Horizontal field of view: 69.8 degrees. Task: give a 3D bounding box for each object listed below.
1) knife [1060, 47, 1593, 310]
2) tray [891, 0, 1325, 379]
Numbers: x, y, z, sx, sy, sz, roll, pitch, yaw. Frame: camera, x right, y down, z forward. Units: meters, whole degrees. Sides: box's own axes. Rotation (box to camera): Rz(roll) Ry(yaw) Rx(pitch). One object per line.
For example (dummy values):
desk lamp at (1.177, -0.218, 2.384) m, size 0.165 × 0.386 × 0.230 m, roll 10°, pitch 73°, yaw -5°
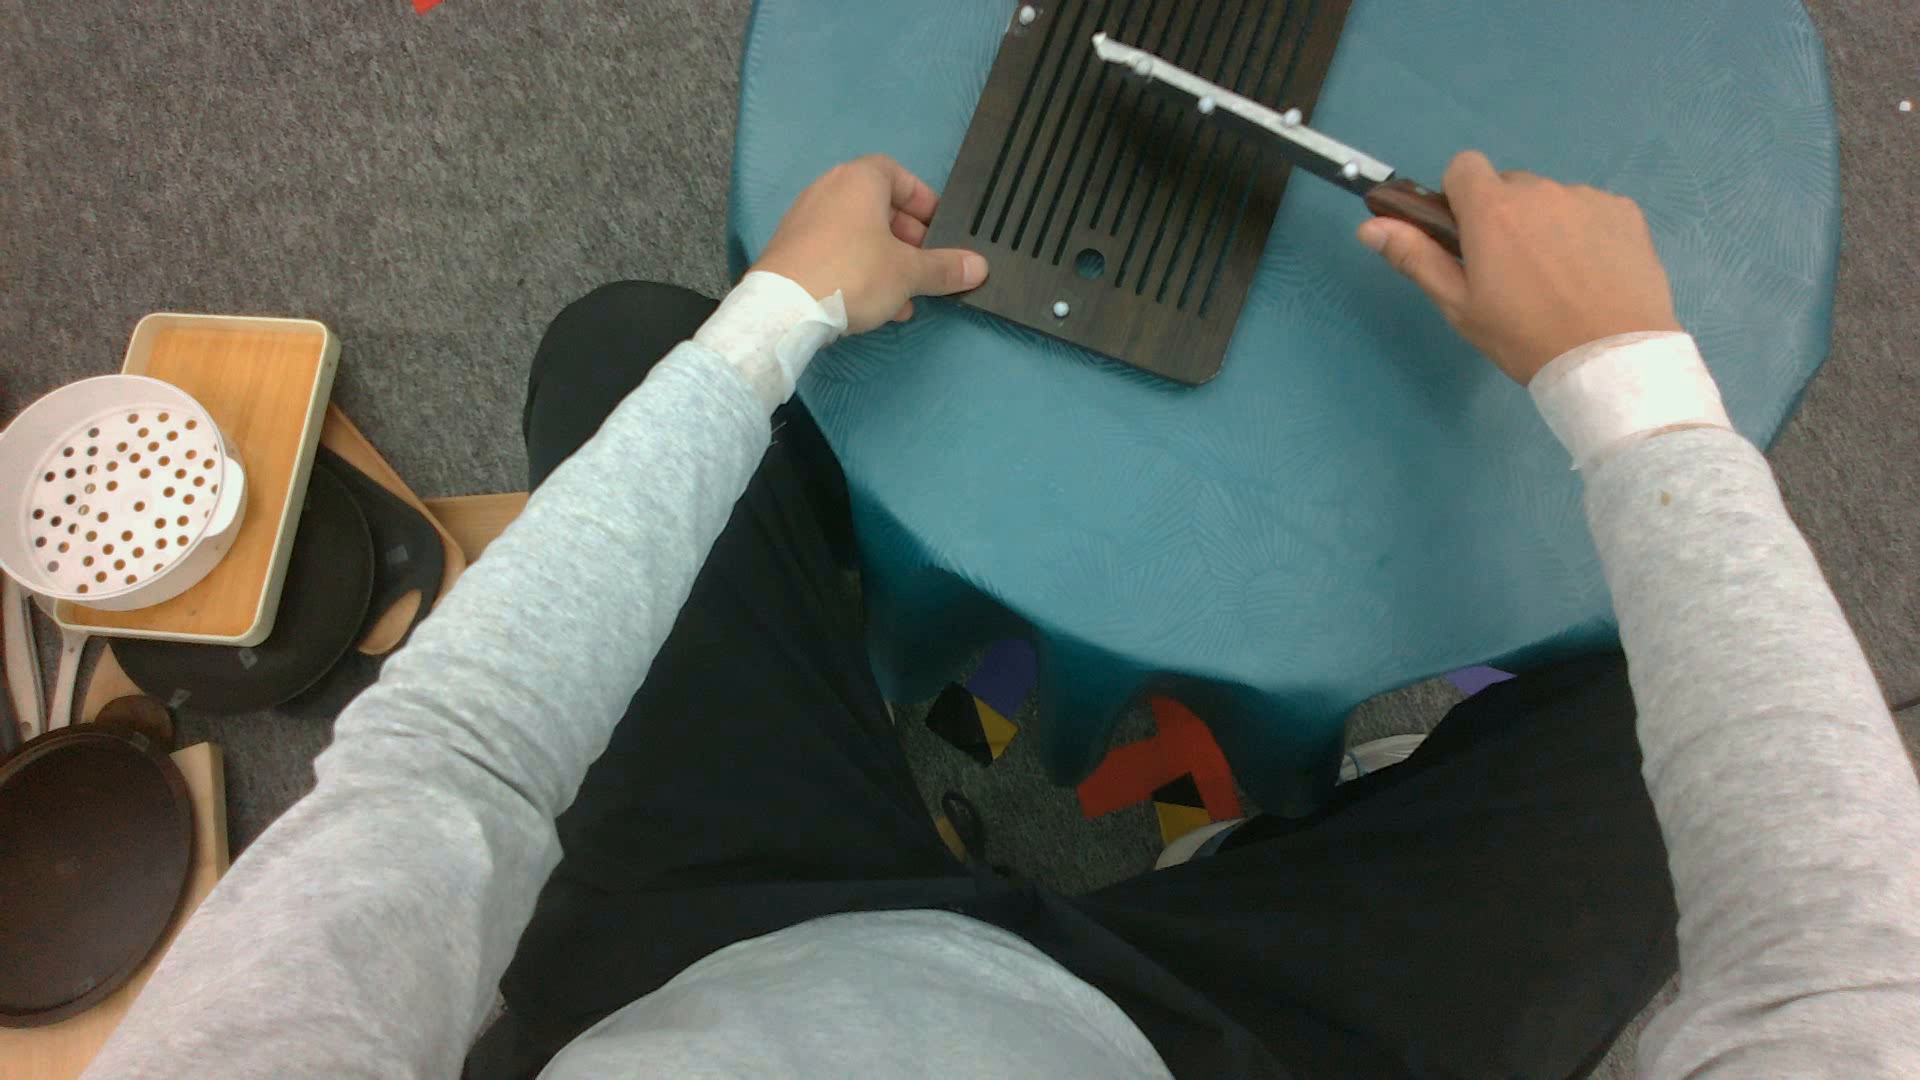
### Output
knife at (0.174, -0.185, 0.680) m, size 0.289 × 0.020 × 0.050 m, roll 30°, pitch 40°, yaw 13°
tray at (0.092, -0.249, 0.749) m, size 0.170 × 0.018 × 0.306 m, roll 21°, pitch 80°, yaw 3°
